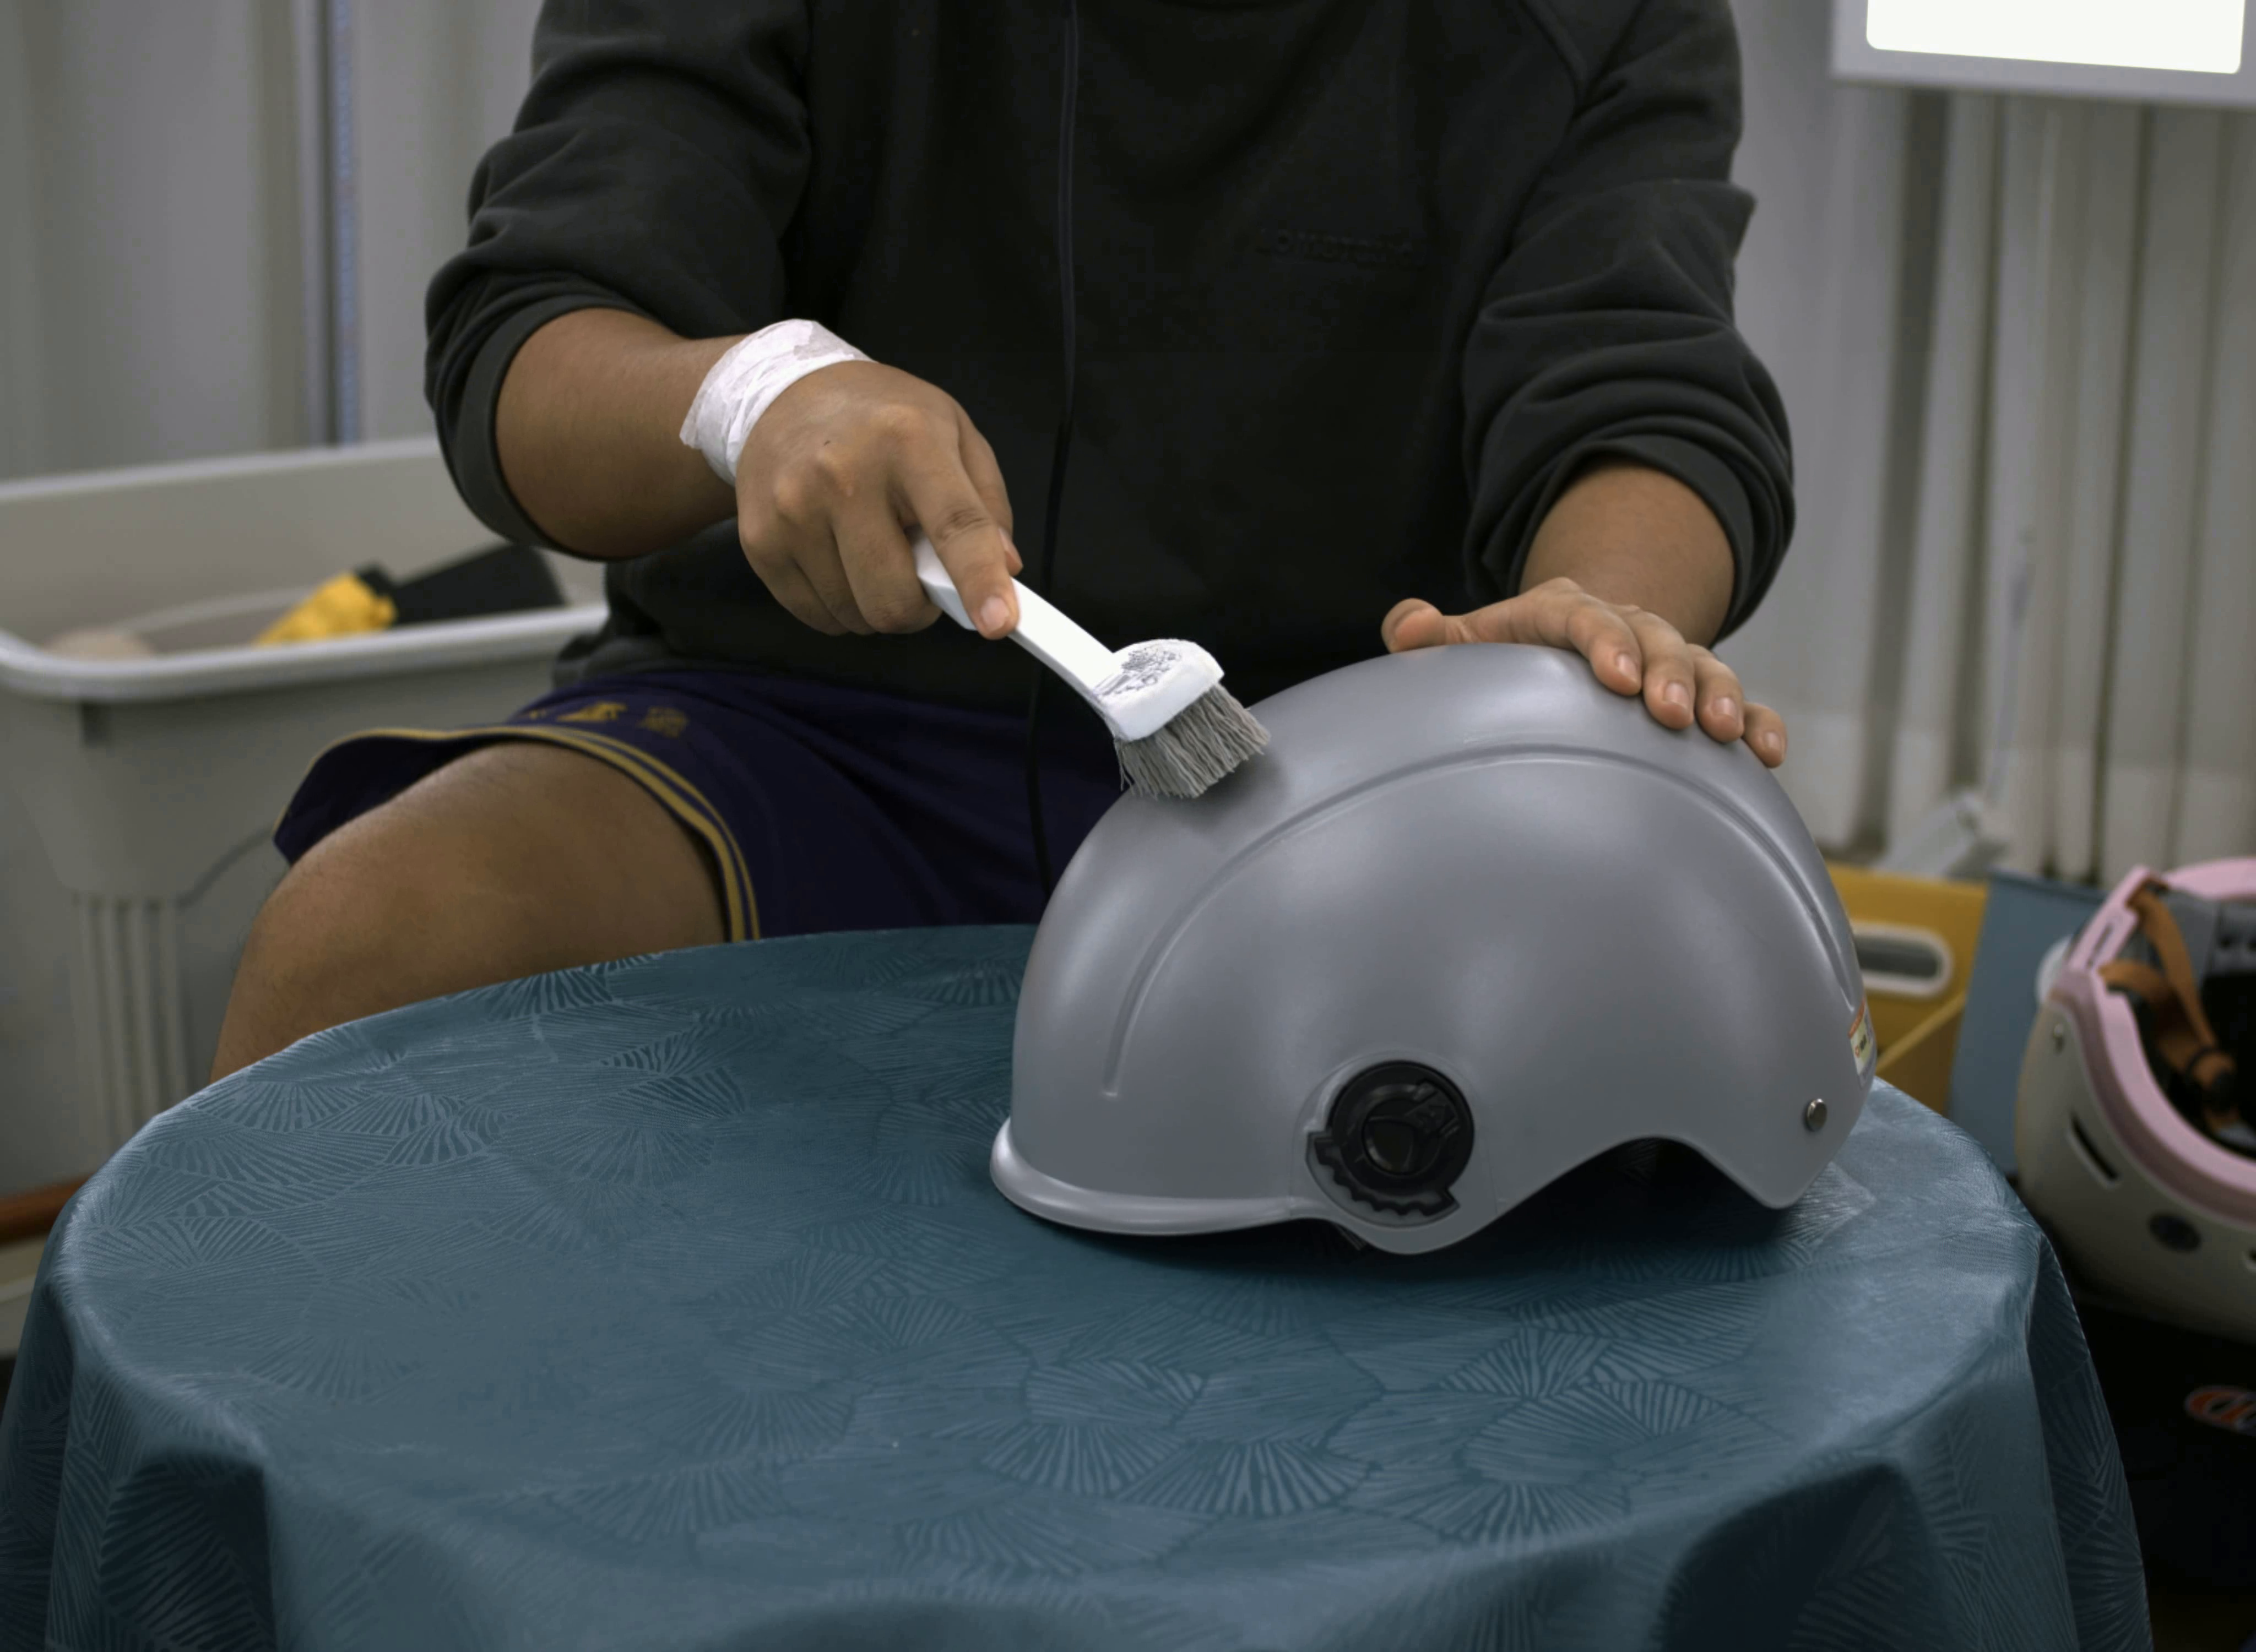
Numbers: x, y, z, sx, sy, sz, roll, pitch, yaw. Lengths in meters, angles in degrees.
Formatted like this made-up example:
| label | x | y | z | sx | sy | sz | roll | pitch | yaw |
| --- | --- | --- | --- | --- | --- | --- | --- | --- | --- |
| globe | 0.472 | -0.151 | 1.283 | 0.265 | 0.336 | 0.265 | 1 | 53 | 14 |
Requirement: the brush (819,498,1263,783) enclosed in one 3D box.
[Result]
| label | x | y | z | sx | sy | sz | roll | pitch | yaw |
| --- | --- | --- | --- | --- | --- | --- | --- | --- | --- |
| brush | -0.030 | -0.058 | 1.656 | 0.034 | 0.051 | 0.240 | -39 | 30 | -14 |

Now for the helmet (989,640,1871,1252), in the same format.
| label | x | y | z | sx | sy | sz | roll | pitch | yaw |
| --- | --- | --- | --- | --- | --- | --- | --- | --- | --- |
| helmet | 0.092 | 0.029 | 1.630 | 0.276 | 0.170 | 0.230 | -3 | 15 | -10 |
